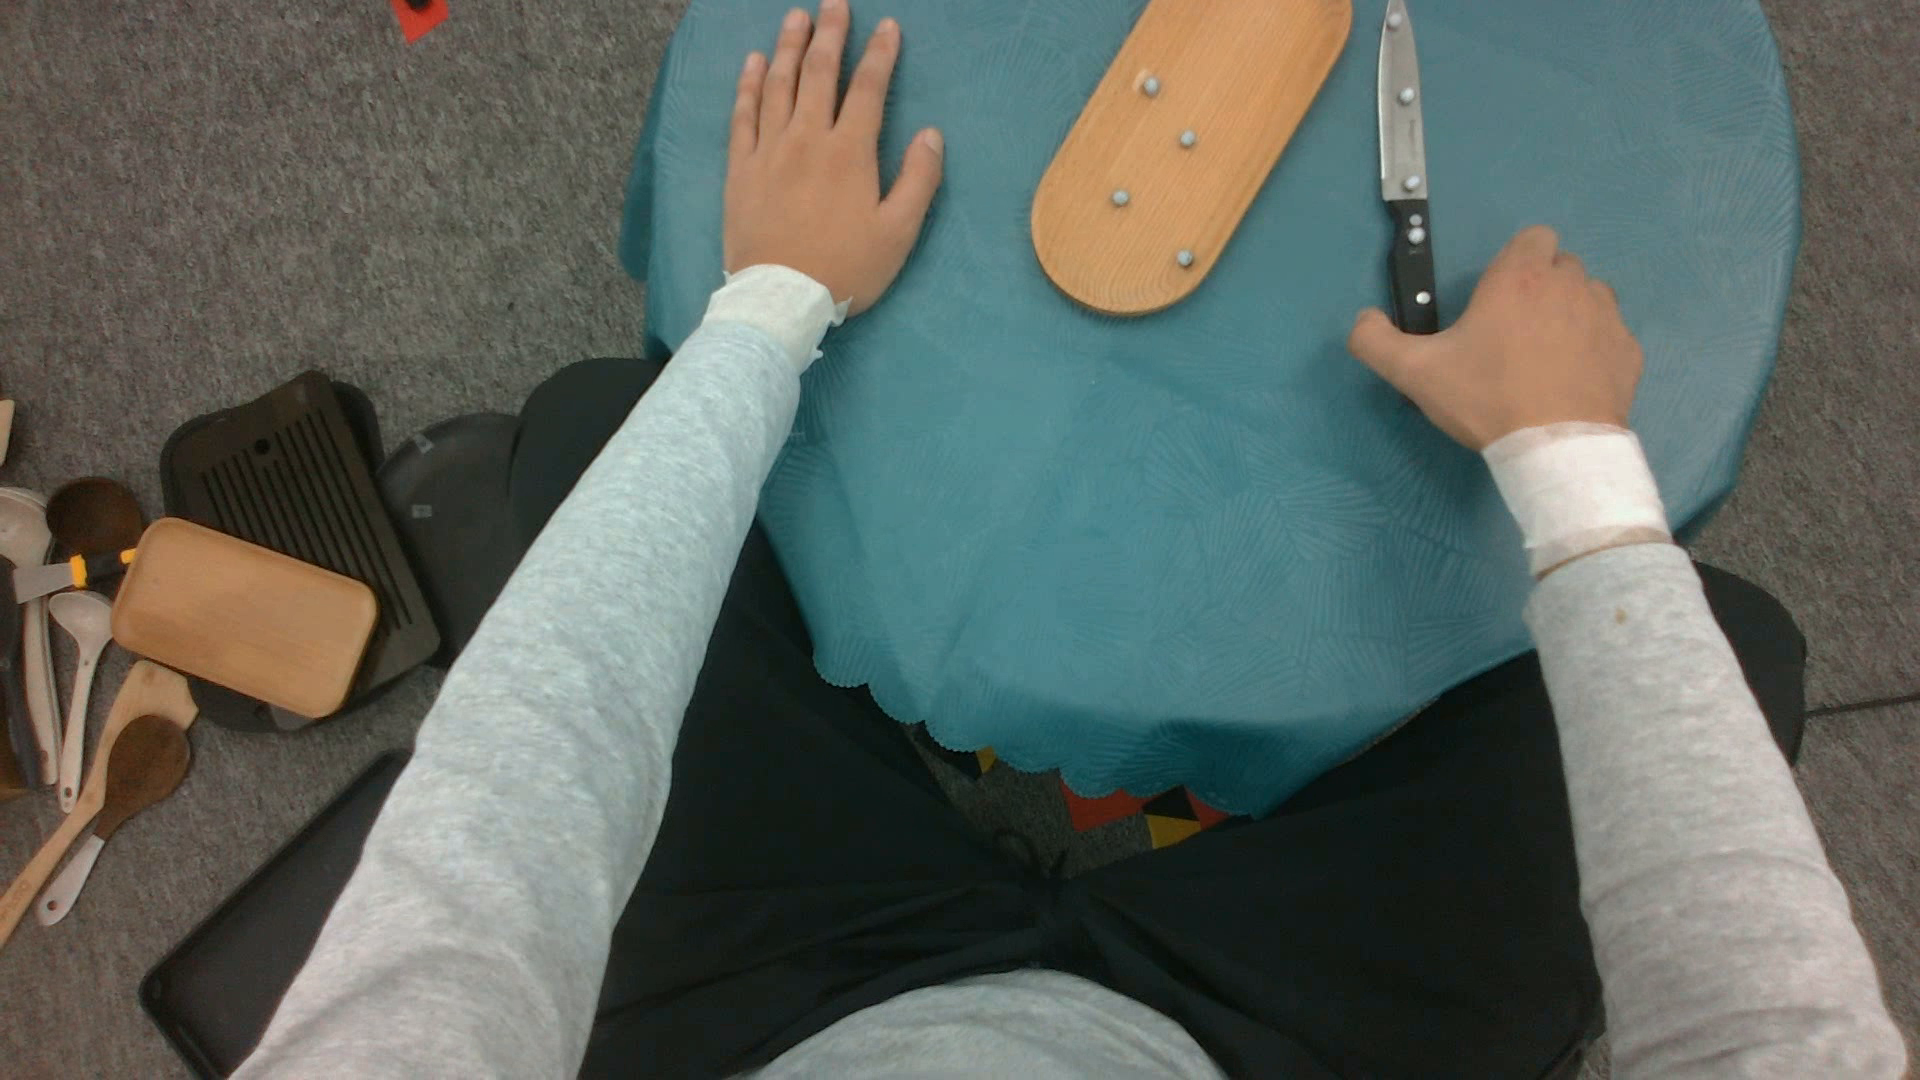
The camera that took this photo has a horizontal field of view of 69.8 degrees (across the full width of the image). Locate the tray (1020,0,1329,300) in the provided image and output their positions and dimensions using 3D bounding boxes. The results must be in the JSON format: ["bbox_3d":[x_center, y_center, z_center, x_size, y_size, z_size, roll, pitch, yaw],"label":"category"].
[{"bbox_3d":[0.113,-0.230,0.727,0.101,0.020,0.231,28,82,6],"label":"tray"}]

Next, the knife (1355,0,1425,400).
[{"bbox_3d":[0.223,-0.187,0.715,0.024,0.016,0.238,-2,77,4],"label":"knife"}]
